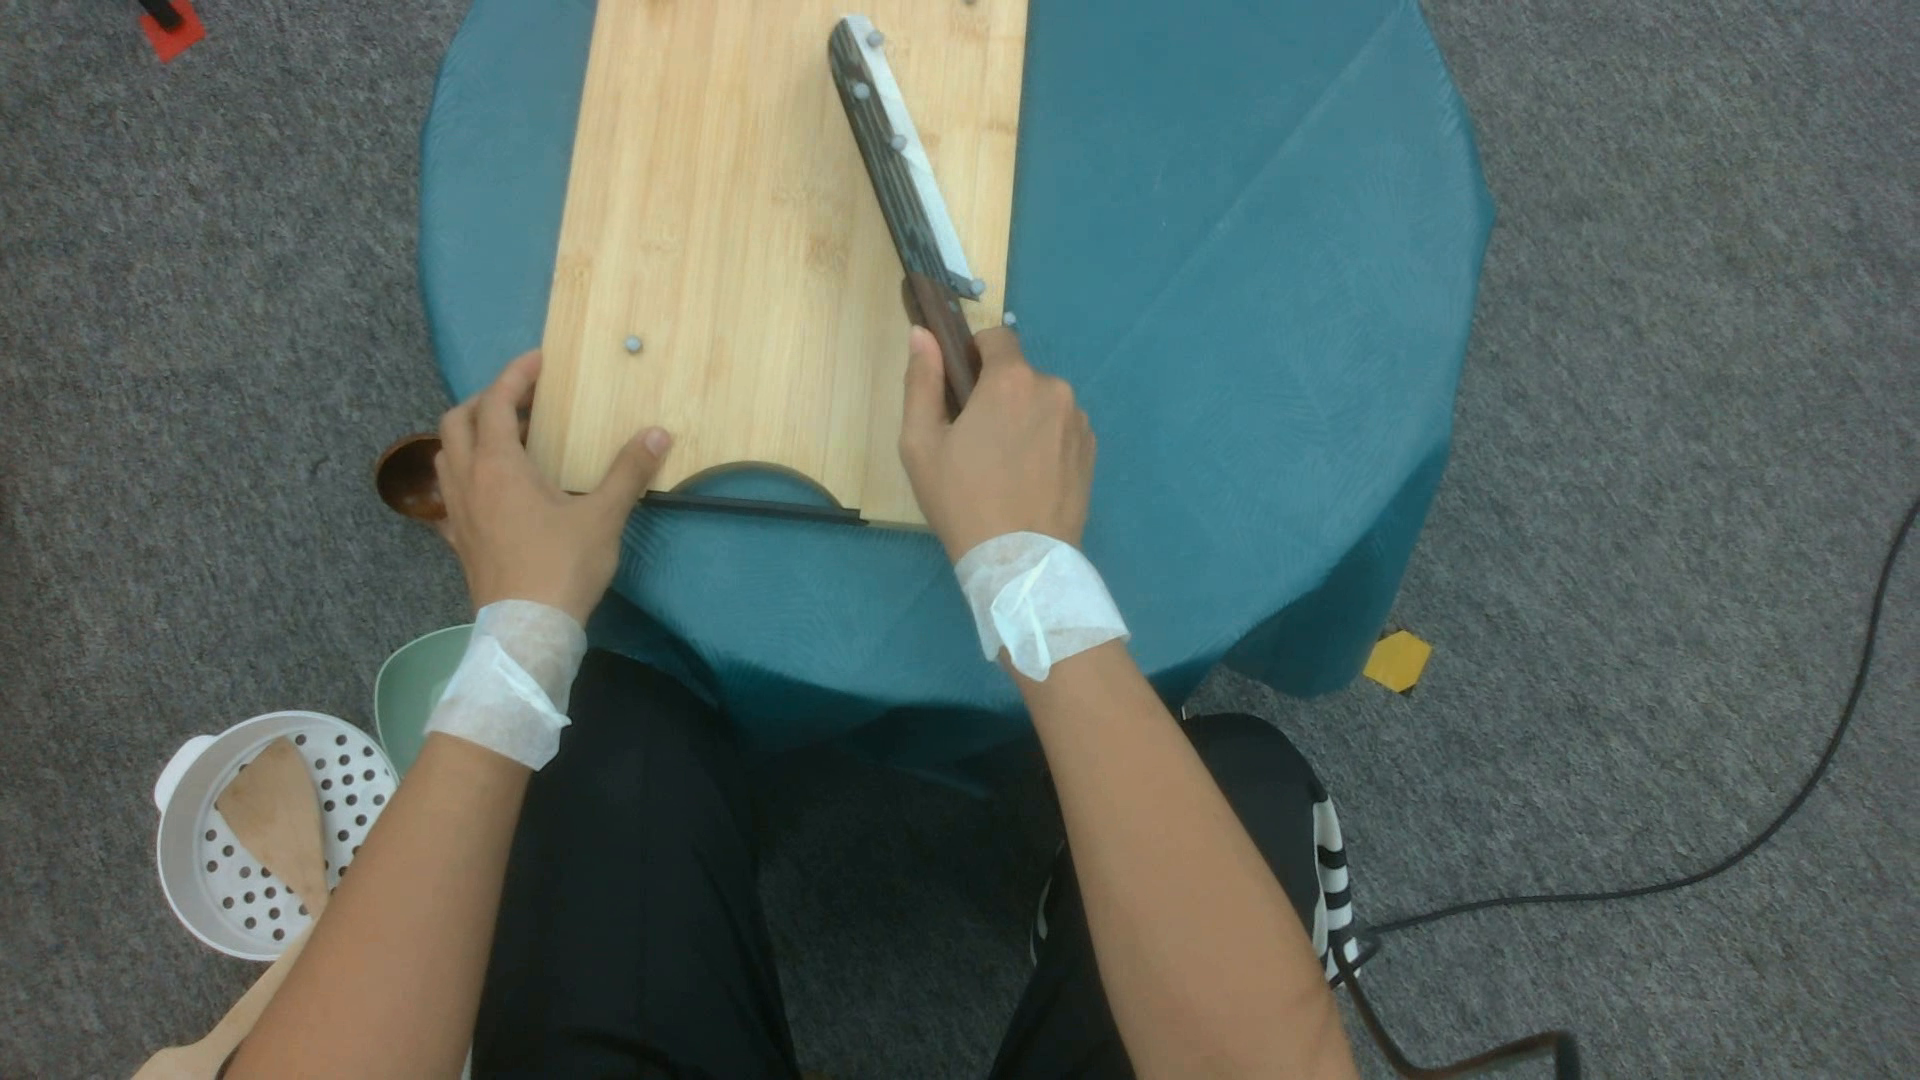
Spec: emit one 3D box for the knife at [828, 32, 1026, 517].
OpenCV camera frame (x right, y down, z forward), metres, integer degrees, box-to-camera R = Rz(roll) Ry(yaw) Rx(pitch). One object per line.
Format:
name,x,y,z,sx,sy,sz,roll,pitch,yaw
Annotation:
knife,-0.016,-0.148,0.718,0.024,0.068,0.300,-28,73,29

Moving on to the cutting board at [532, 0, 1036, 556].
cutting board,-0.090,-0.170,0.775,0.251,0.023,0.349,4,76,-2
